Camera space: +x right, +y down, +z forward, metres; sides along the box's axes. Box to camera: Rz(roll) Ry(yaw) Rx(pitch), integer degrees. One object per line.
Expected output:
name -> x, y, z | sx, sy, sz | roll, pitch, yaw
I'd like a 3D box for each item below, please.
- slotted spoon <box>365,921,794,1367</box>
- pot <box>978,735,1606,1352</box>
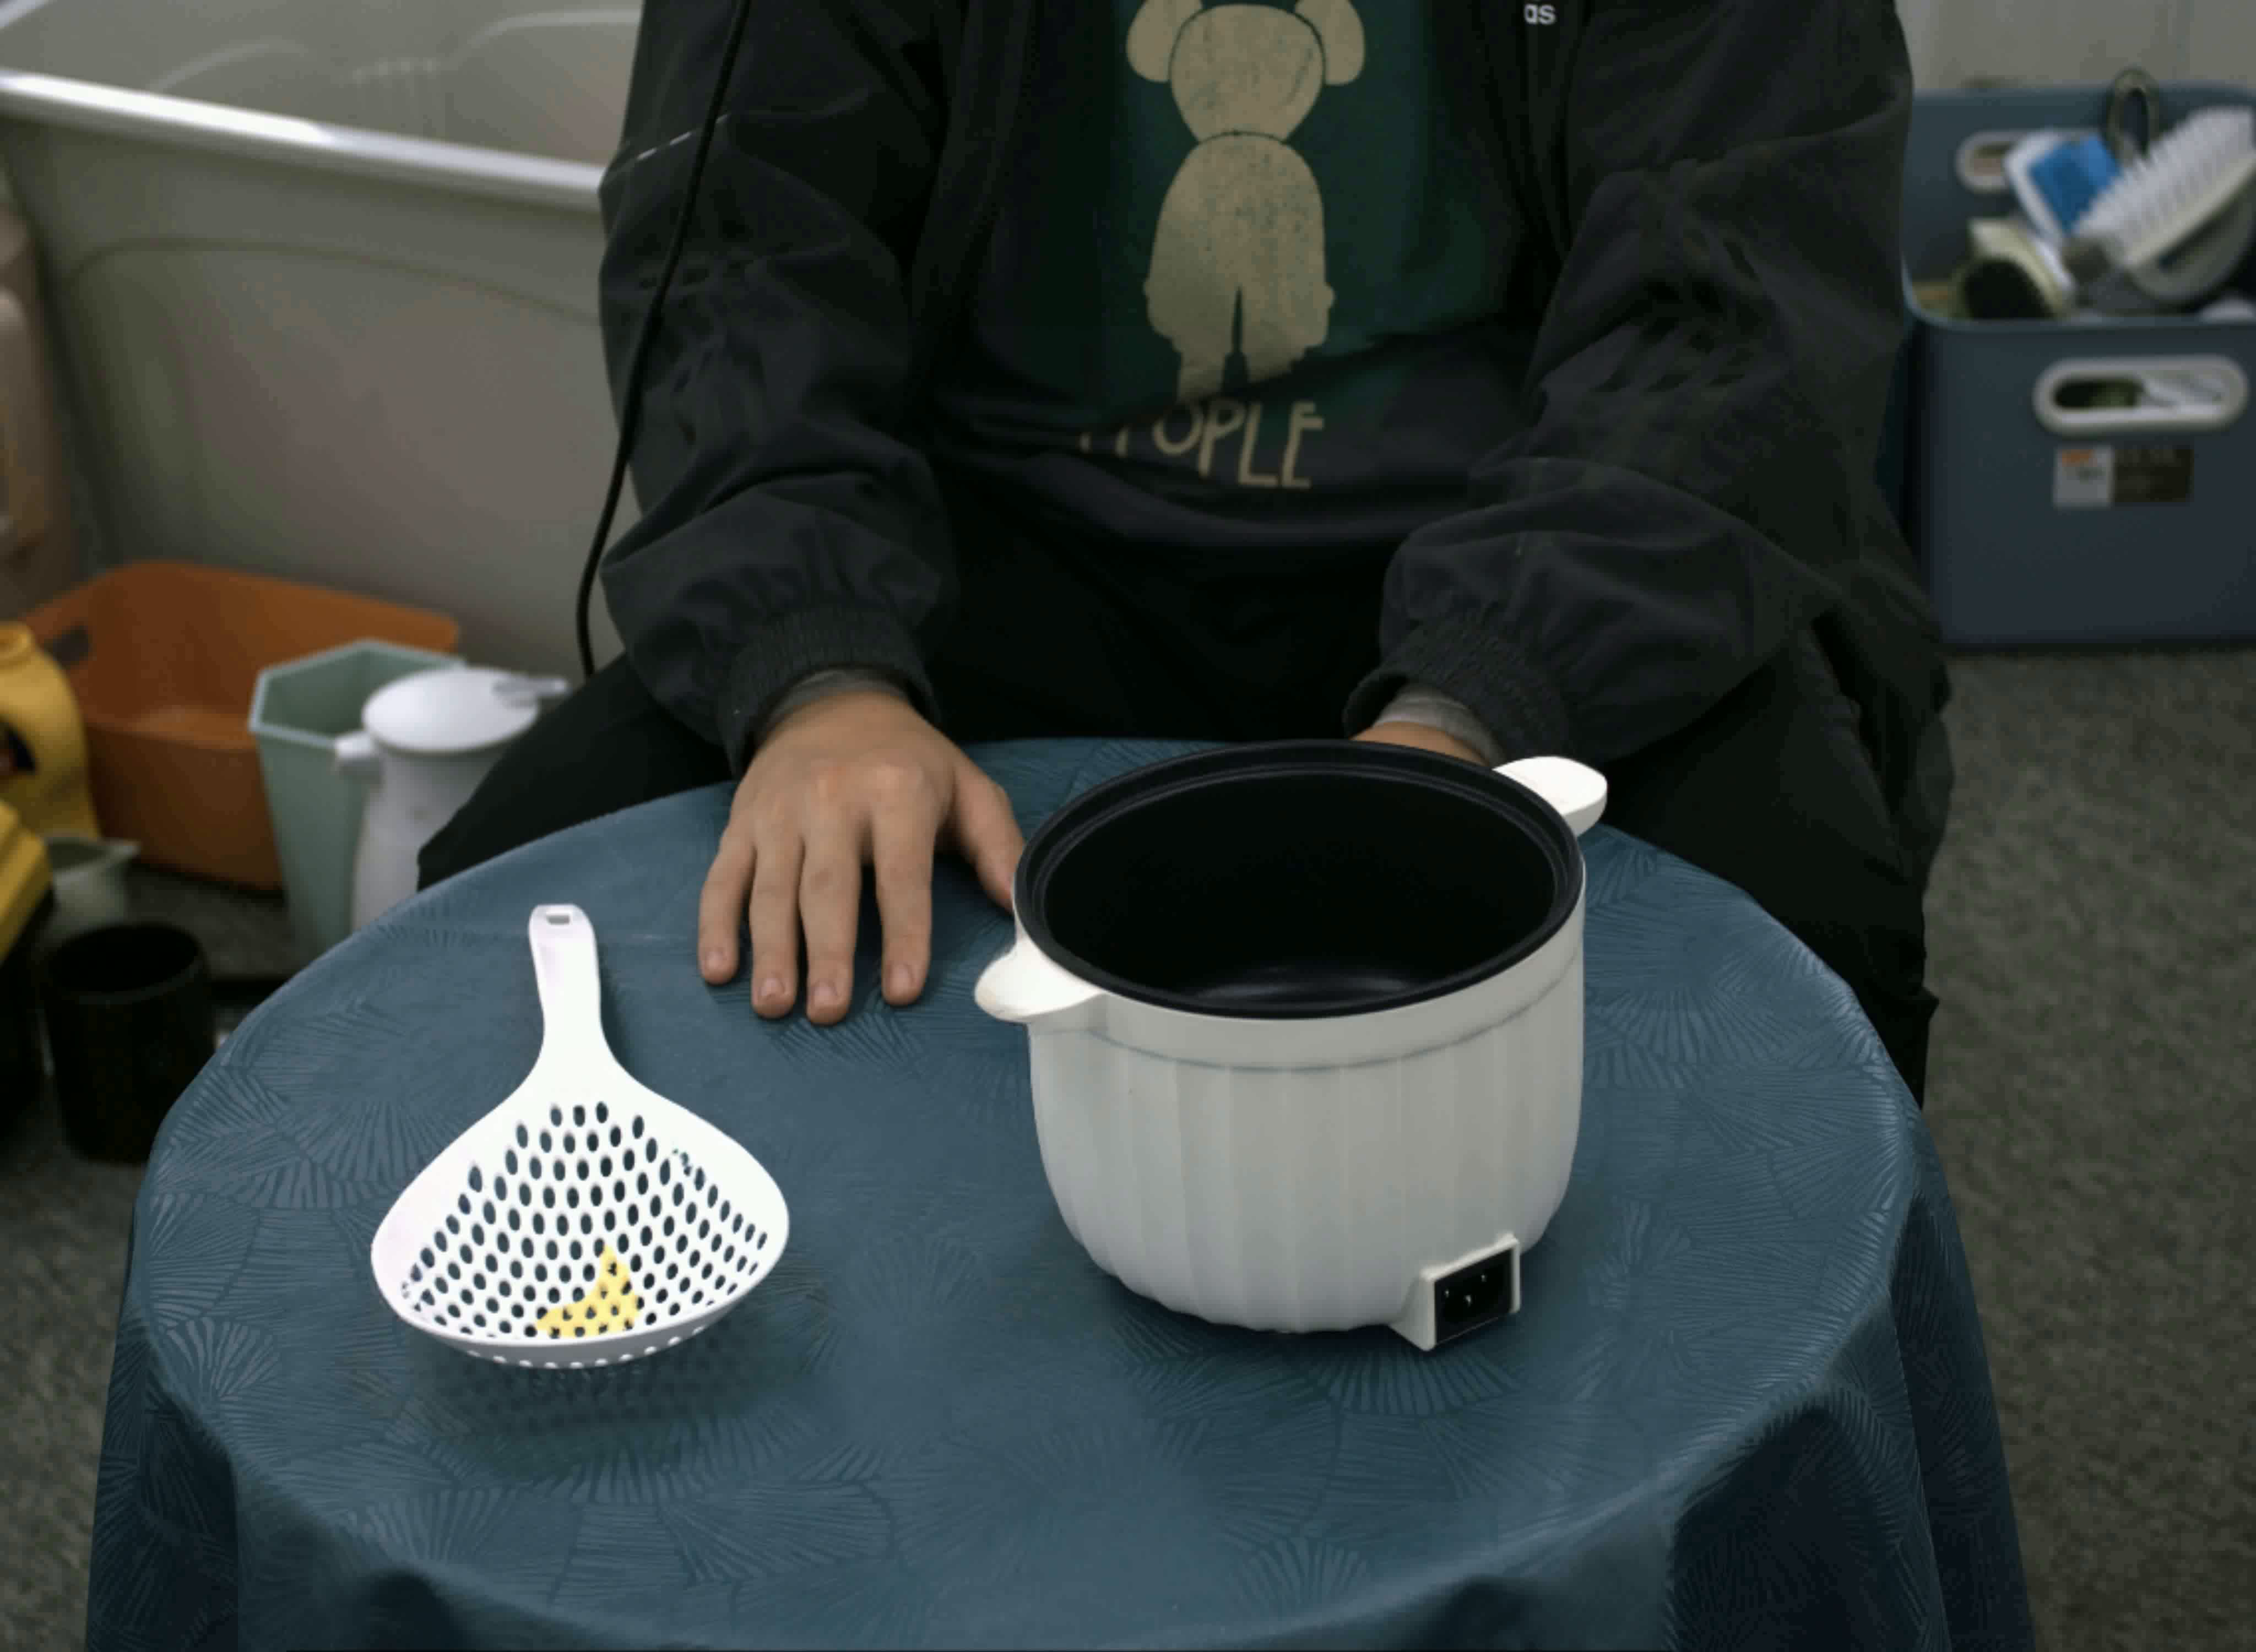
slotted spoon -> -0.186, 0.094, 1.883 | 0.136, 0.050, 0.352 | -7, 28, -5
pot -> 0.053, 0.070, 1.804 | 0.242, 0.141, 0.191 | -19, 34, -31
